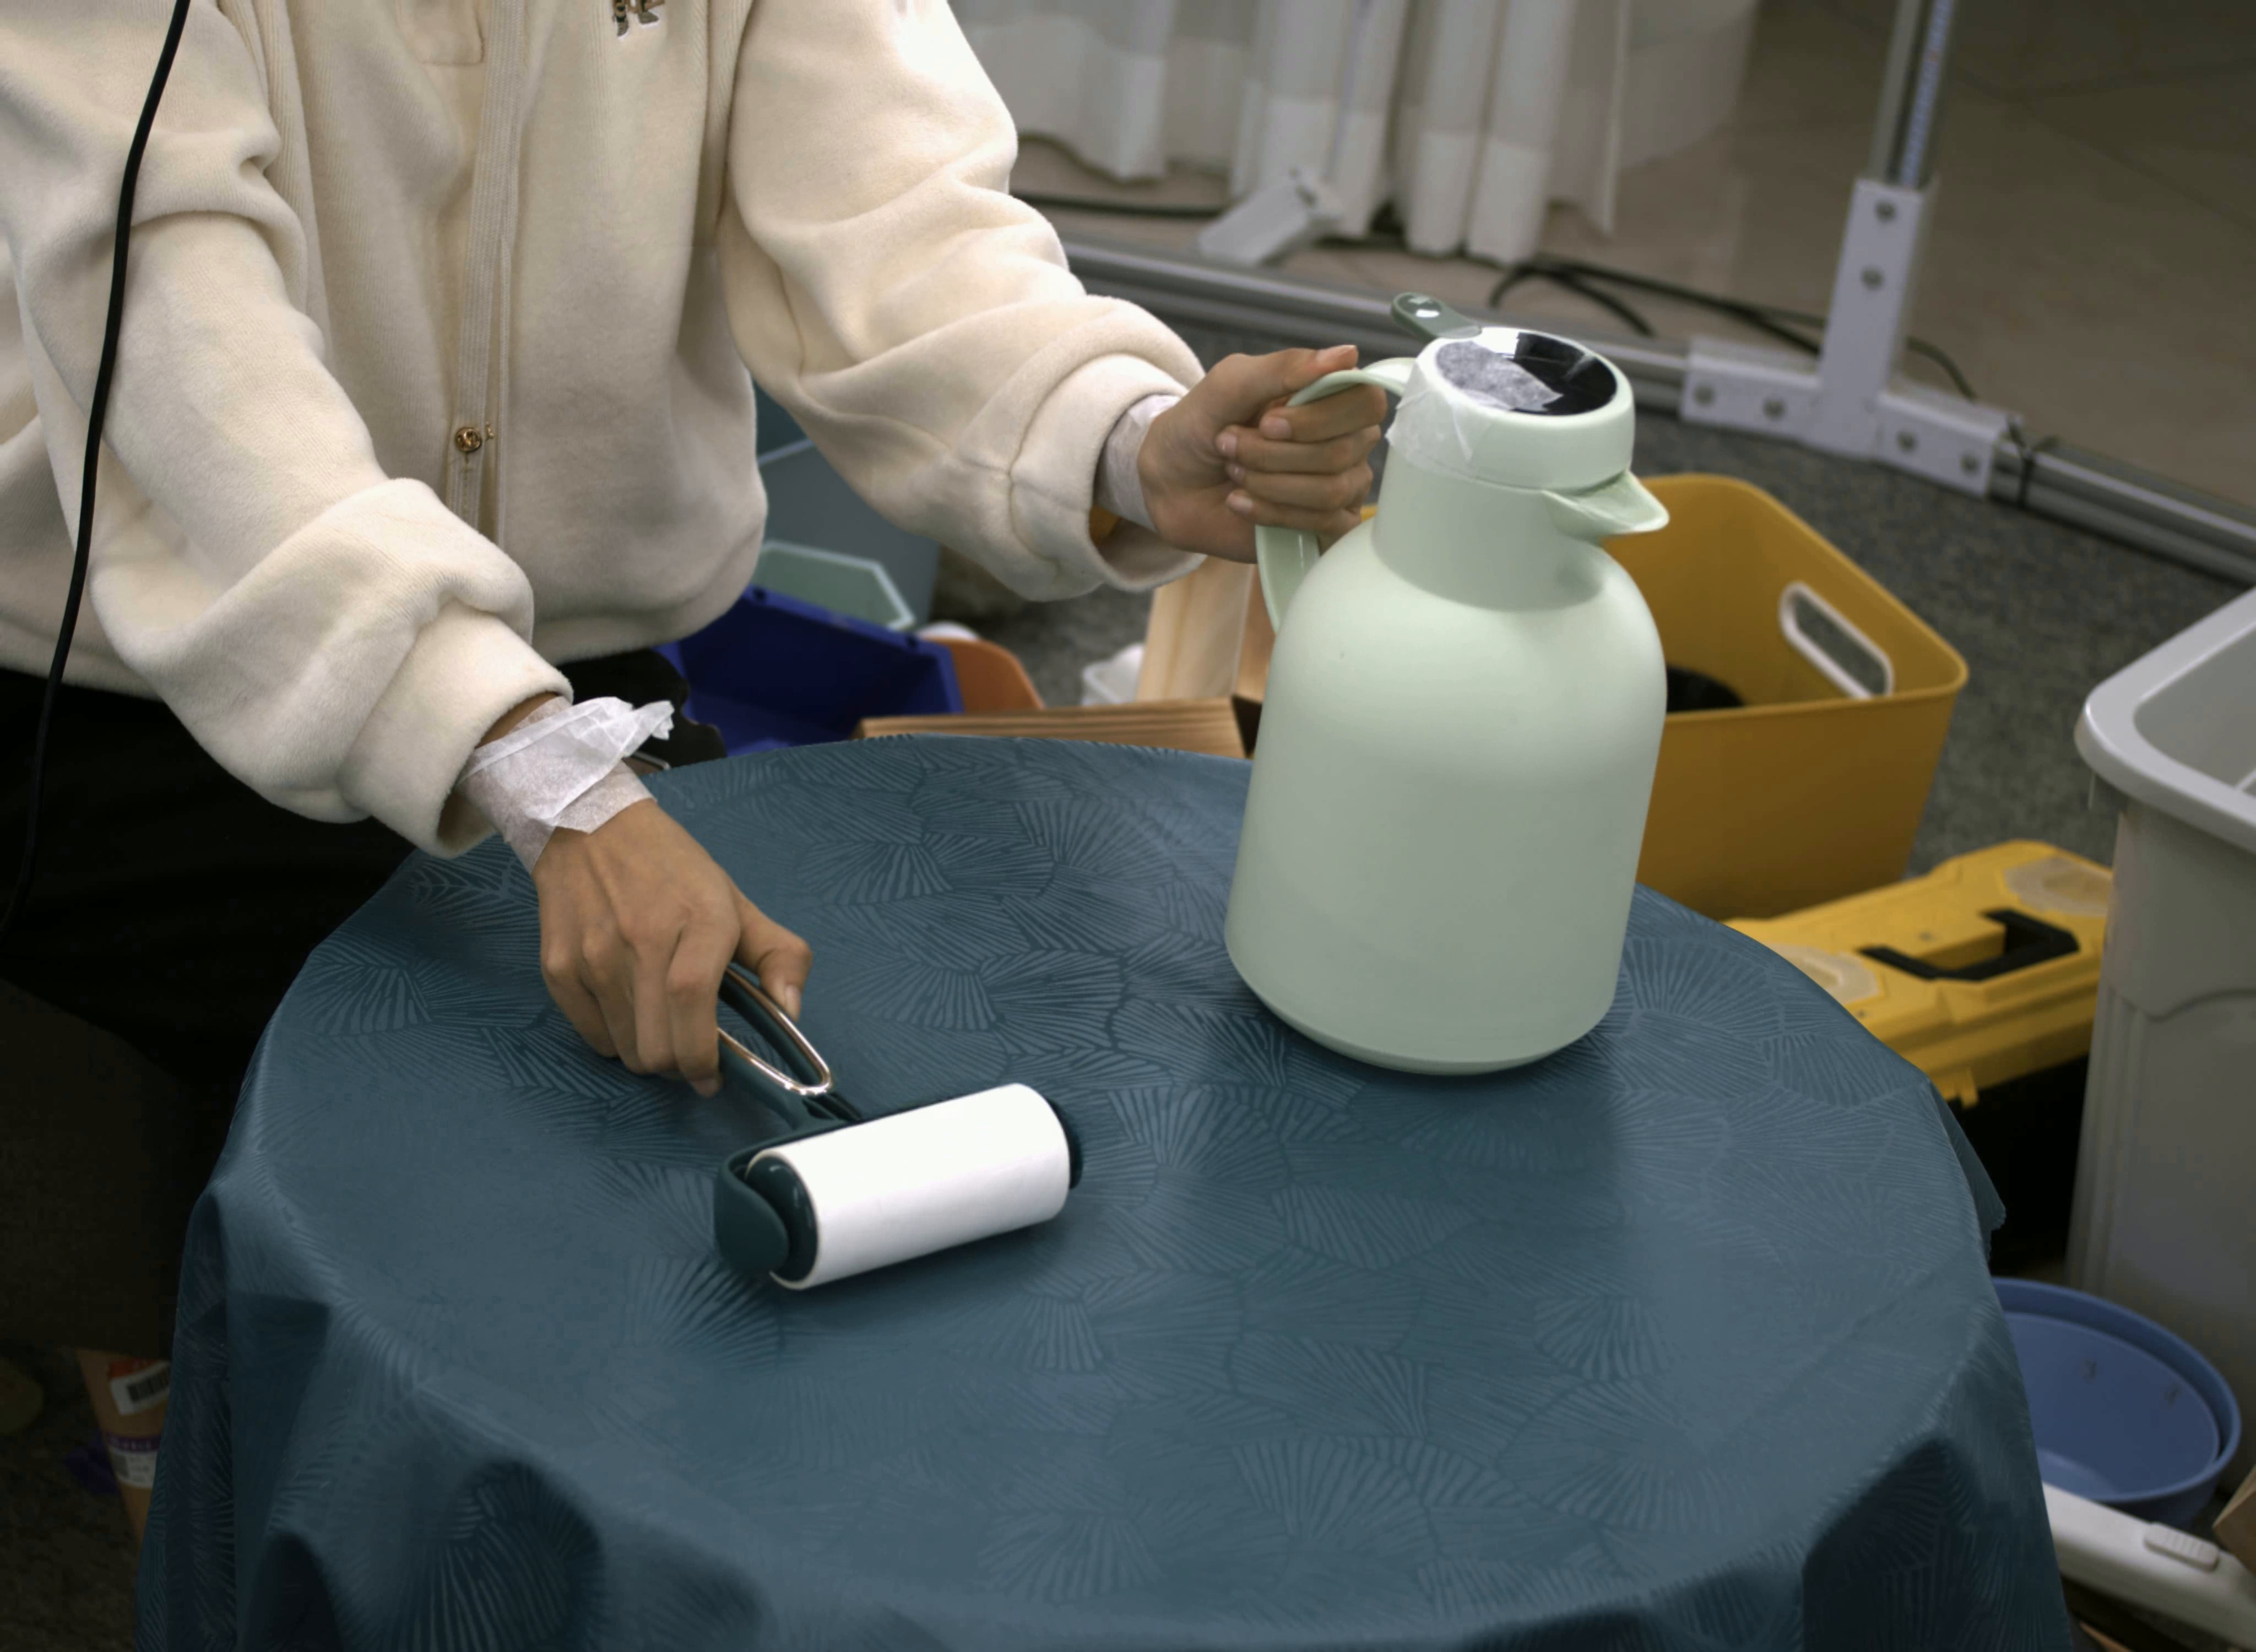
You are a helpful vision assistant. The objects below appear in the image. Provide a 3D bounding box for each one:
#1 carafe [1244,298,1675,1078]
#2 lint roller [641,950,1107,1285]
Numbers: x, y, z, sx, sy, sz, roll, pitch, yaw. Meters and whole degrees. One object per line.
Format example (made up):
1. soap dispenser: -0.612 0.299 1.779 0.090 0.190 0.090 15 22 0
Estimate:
1. carafe: 0.114 -0.055 1.895 0.143 0.256 0.188 -17 34 -34
2. lint roller: -0.109 0.079 1.786 0.133 0.048 0.182 -12 42 -34
